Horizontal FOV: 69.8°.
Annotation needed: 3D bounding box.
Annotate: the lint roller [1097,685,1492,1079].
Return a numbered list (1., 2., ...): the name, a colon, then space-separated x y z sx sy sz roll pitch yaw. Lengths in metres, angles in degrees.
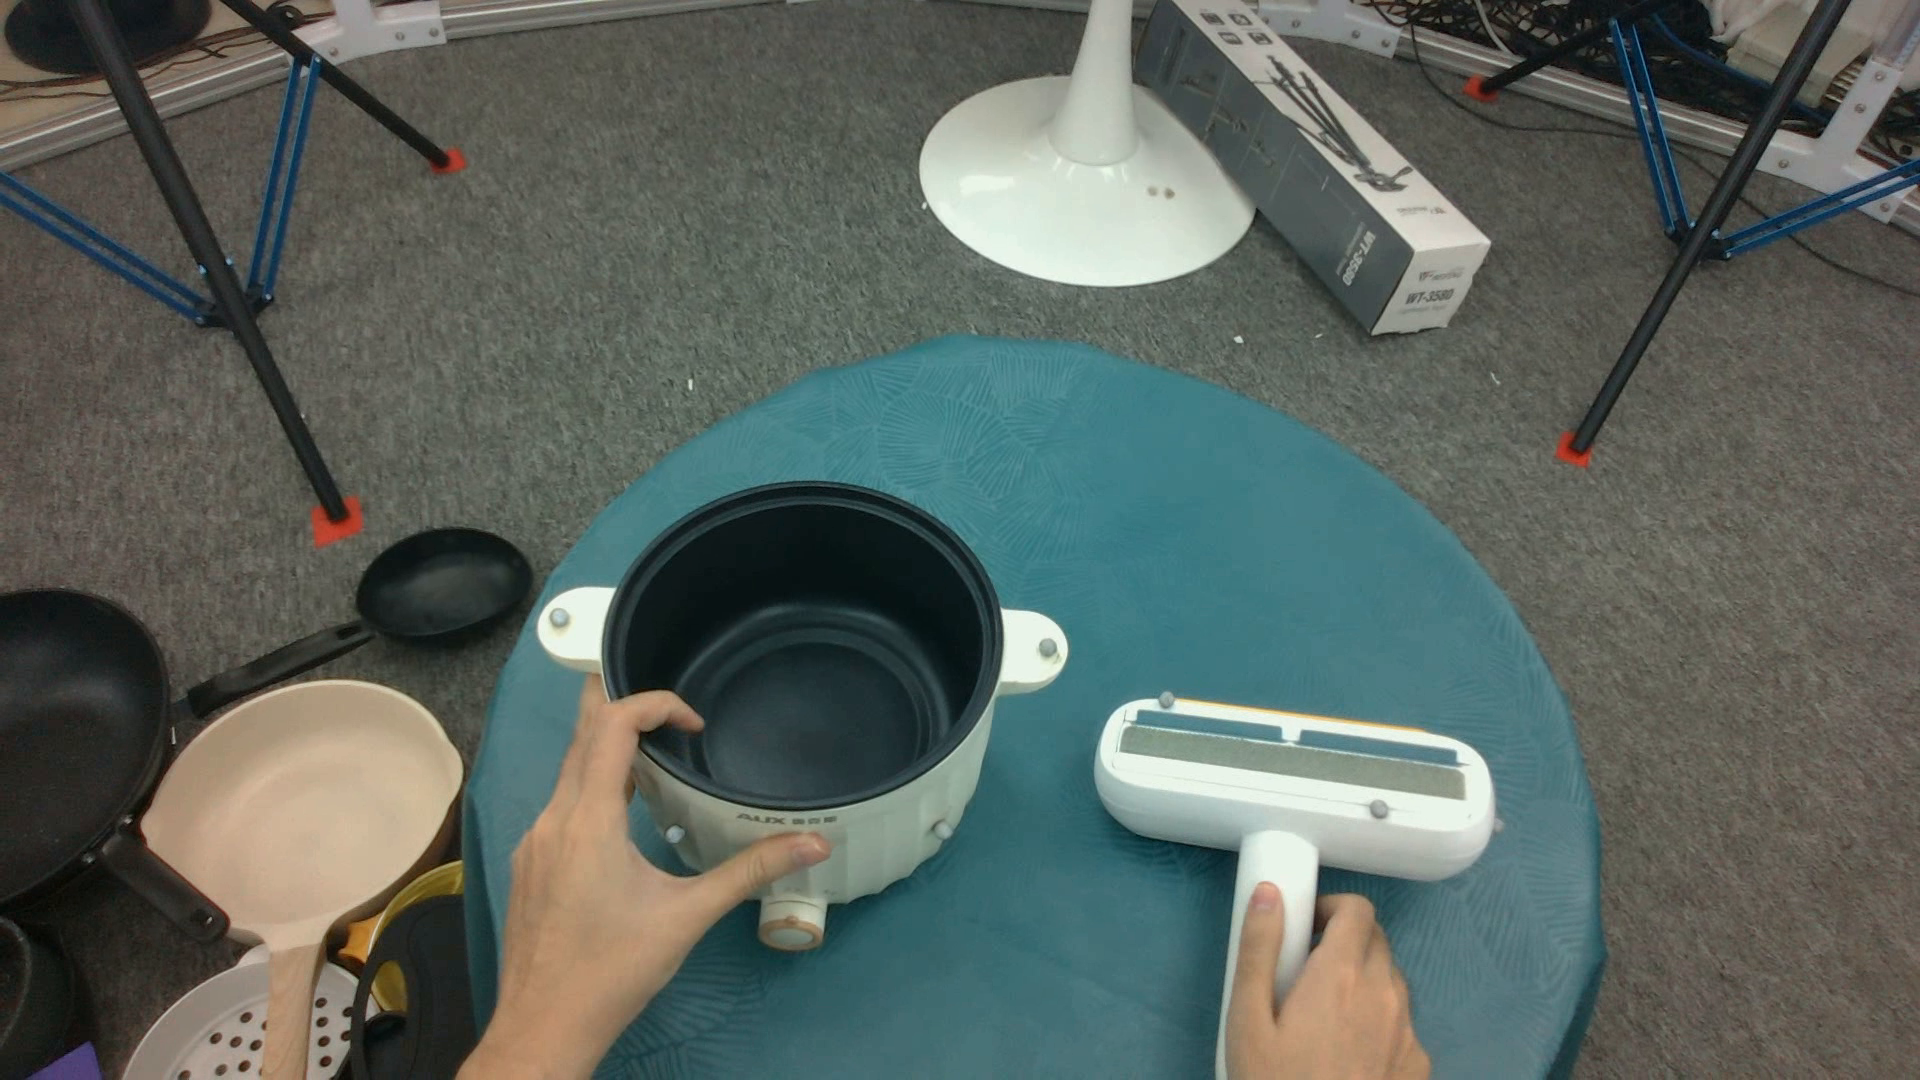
1. lint roller: 0.147 0.167 0.664 0.193 0.074 0.193 12 52 14

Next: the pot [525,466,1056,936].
1. pot: -0.079 0.079 0.670 0.240 0.142 0.191 2 48 -2
